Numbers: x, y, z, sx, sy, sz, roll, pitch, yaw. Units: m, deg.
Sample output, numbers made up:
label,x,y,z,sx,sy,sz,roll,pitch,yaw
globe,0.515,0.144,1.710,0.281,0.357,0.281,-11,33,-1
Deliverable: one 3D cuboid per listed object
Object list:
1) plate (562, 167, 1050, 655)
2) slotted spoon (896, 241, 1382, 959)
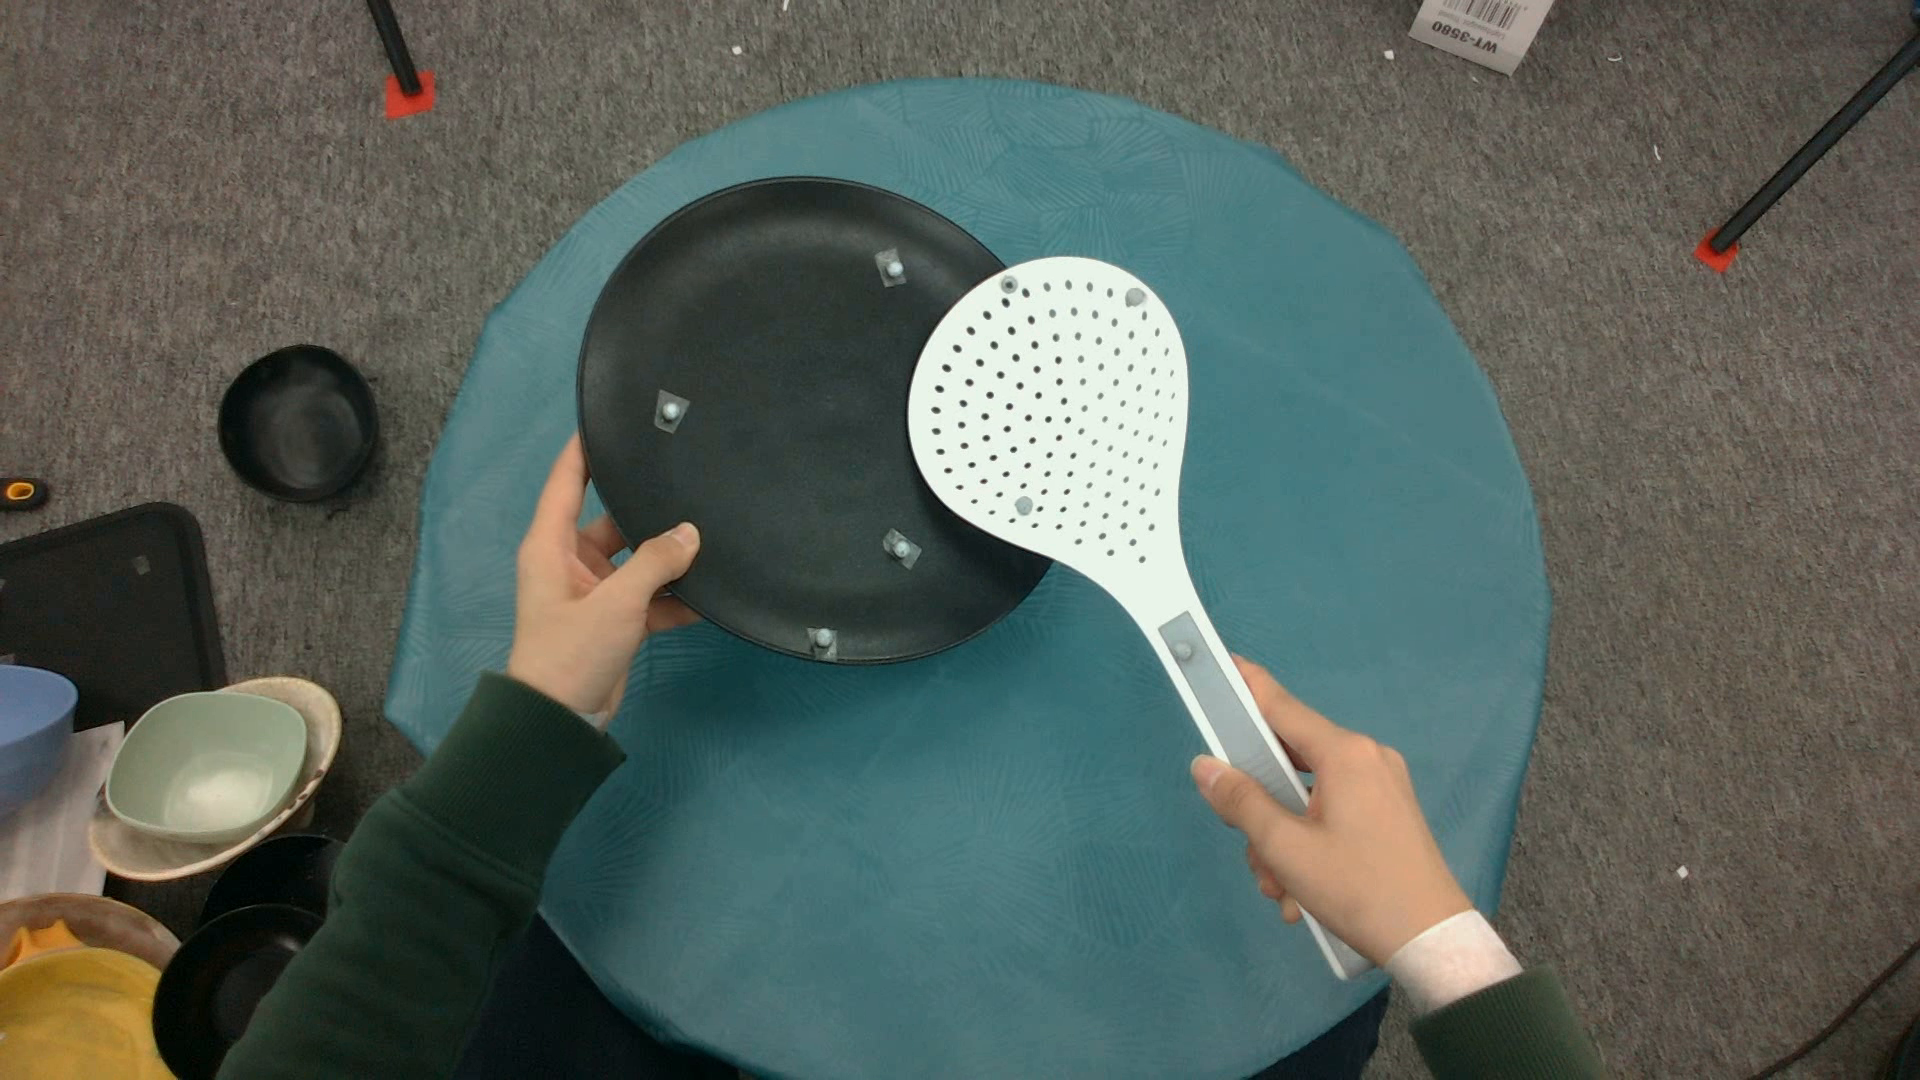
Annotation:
label,x,y,z,sx,sy,sz,roll,pitch,yaw
plate,-0.063,-0.063,0.651,0.245,0.023,0.245,6,71,-20
slotted spoon,0.081,0.015,0.604,0.136,0.046,0.350,-33,62,12
